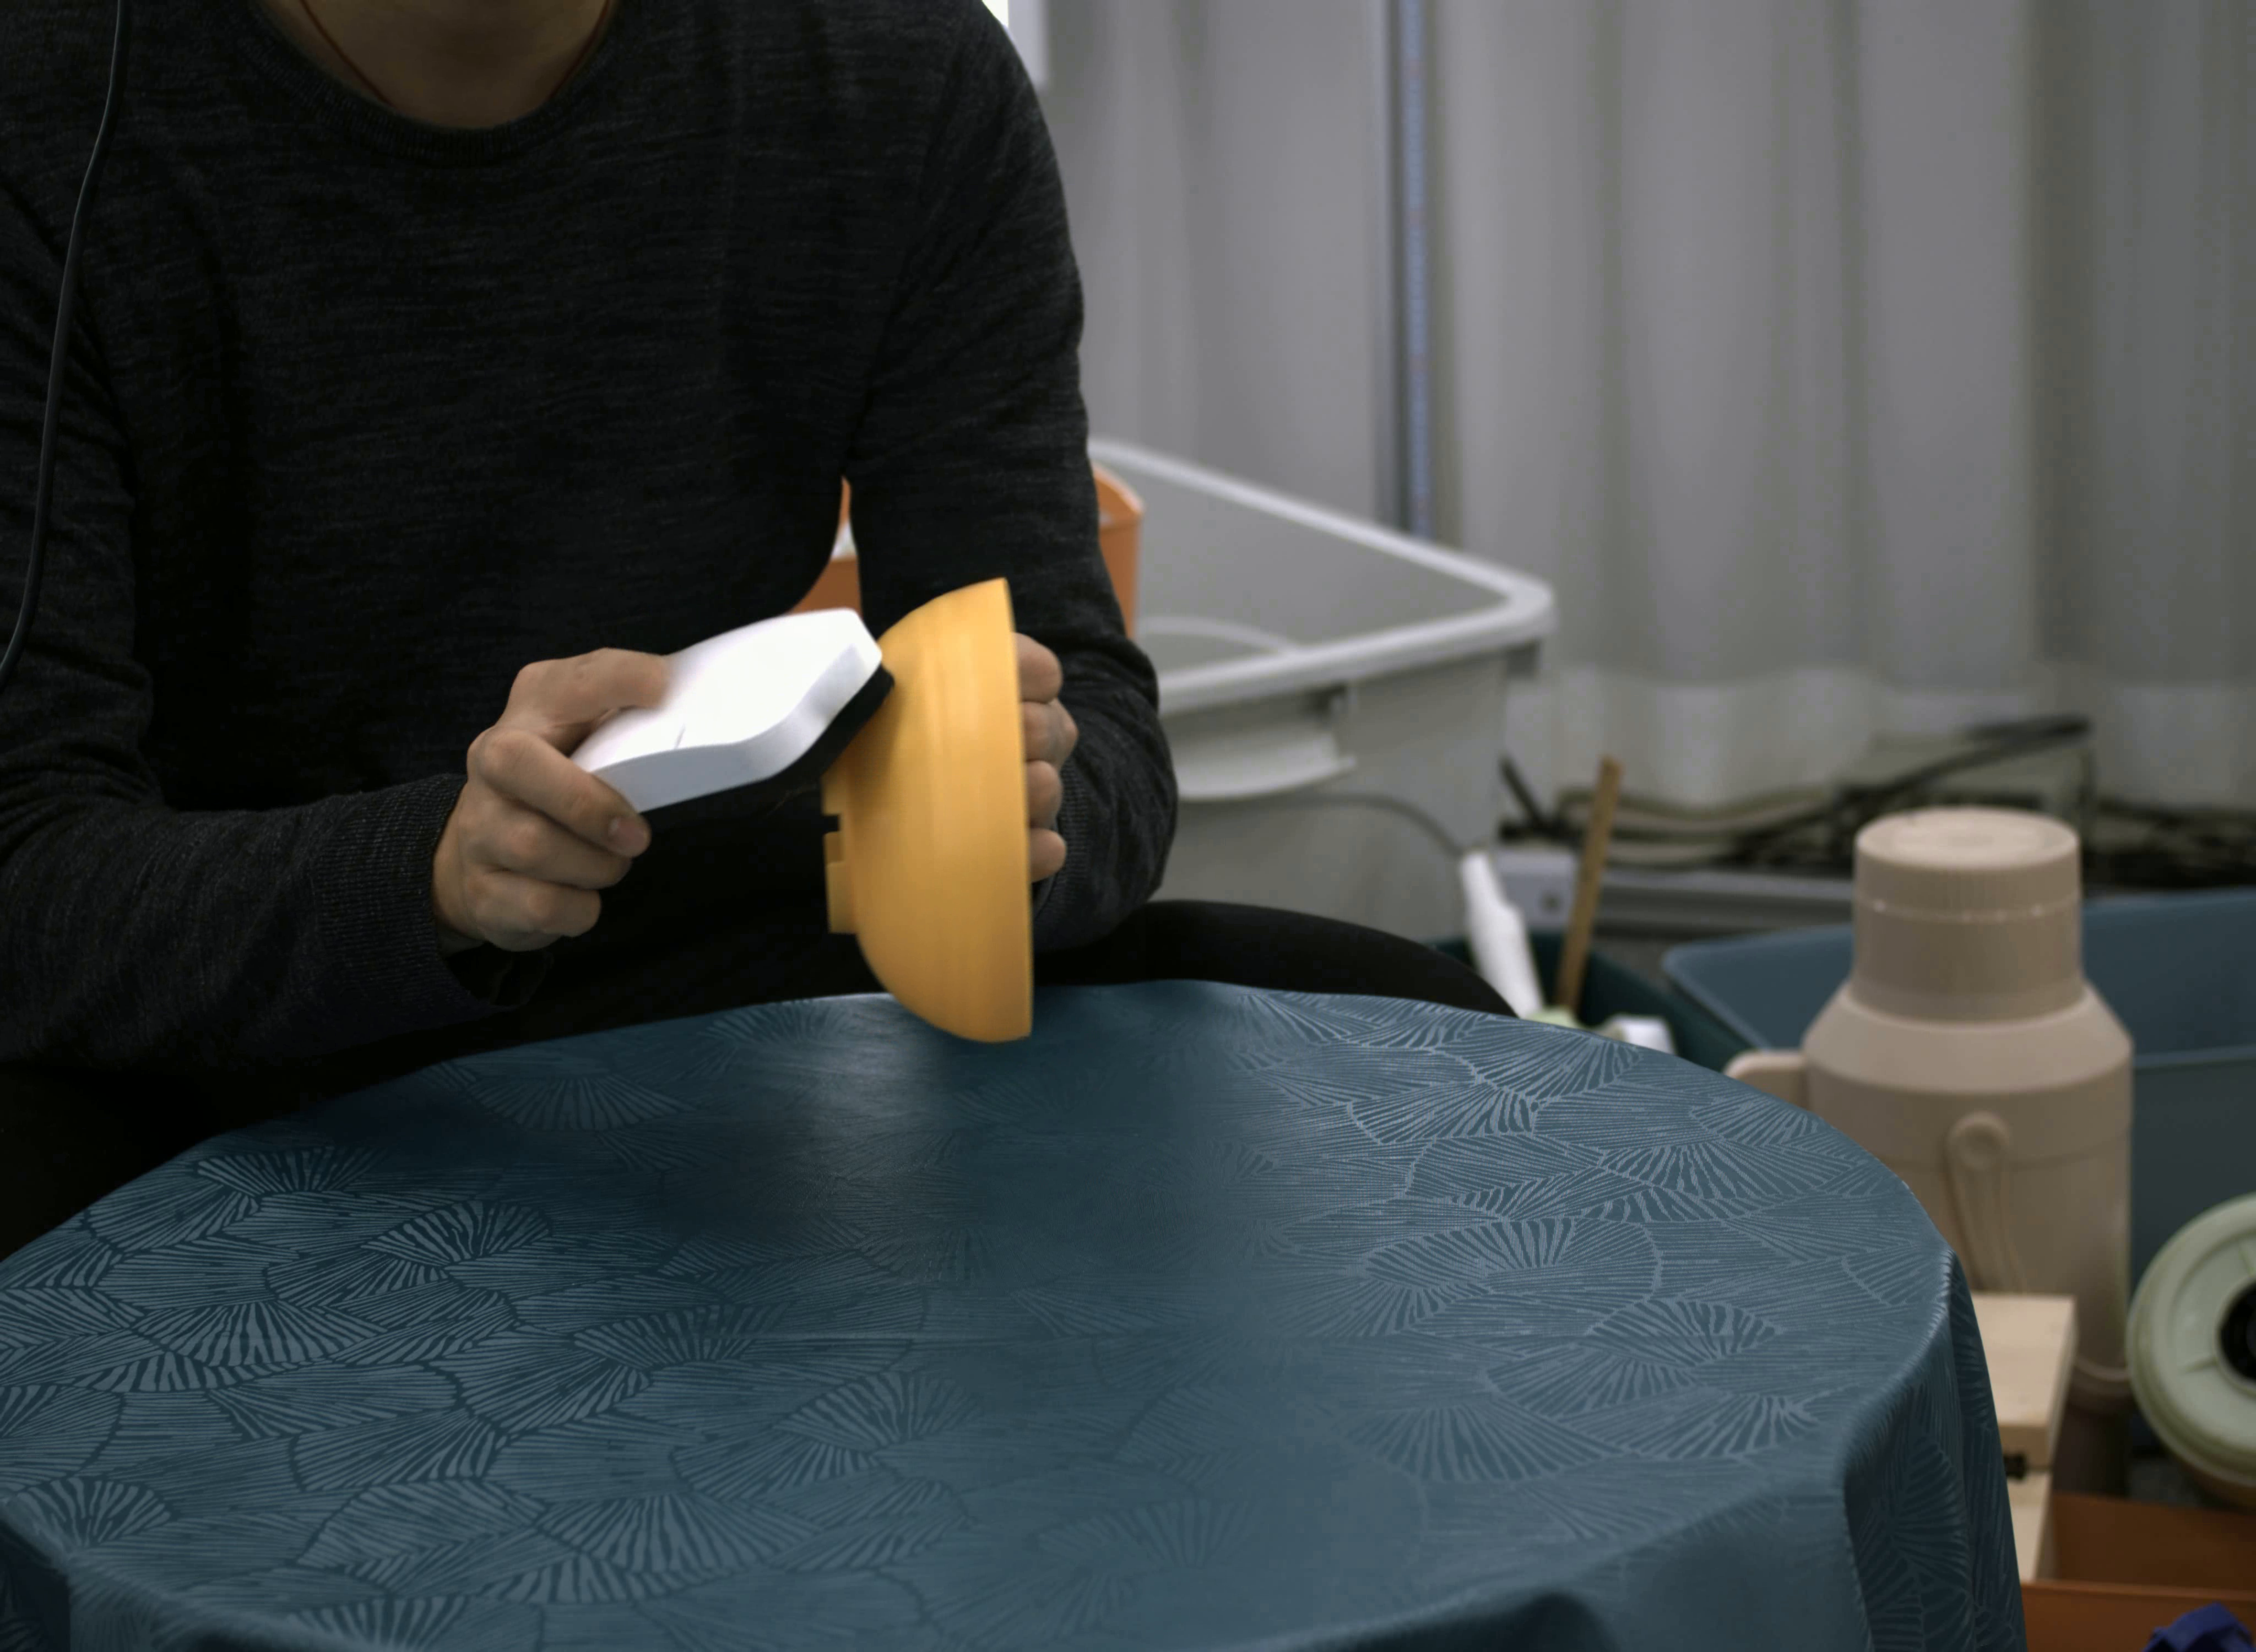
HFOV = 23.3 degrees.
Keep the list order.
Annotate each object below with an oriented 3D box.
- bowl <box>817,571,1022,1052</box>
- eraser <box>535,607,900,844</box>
[{"bbox_3d":[-0.063,-0.003,1.649,0.060,0.145,0.146,-3,14,-2],"label":"bowl"},{"bbox_3d":[-0.123,-0.032,1.633,0.131,0.034,0.064,-13,31,50],"label":"eraser"}]
